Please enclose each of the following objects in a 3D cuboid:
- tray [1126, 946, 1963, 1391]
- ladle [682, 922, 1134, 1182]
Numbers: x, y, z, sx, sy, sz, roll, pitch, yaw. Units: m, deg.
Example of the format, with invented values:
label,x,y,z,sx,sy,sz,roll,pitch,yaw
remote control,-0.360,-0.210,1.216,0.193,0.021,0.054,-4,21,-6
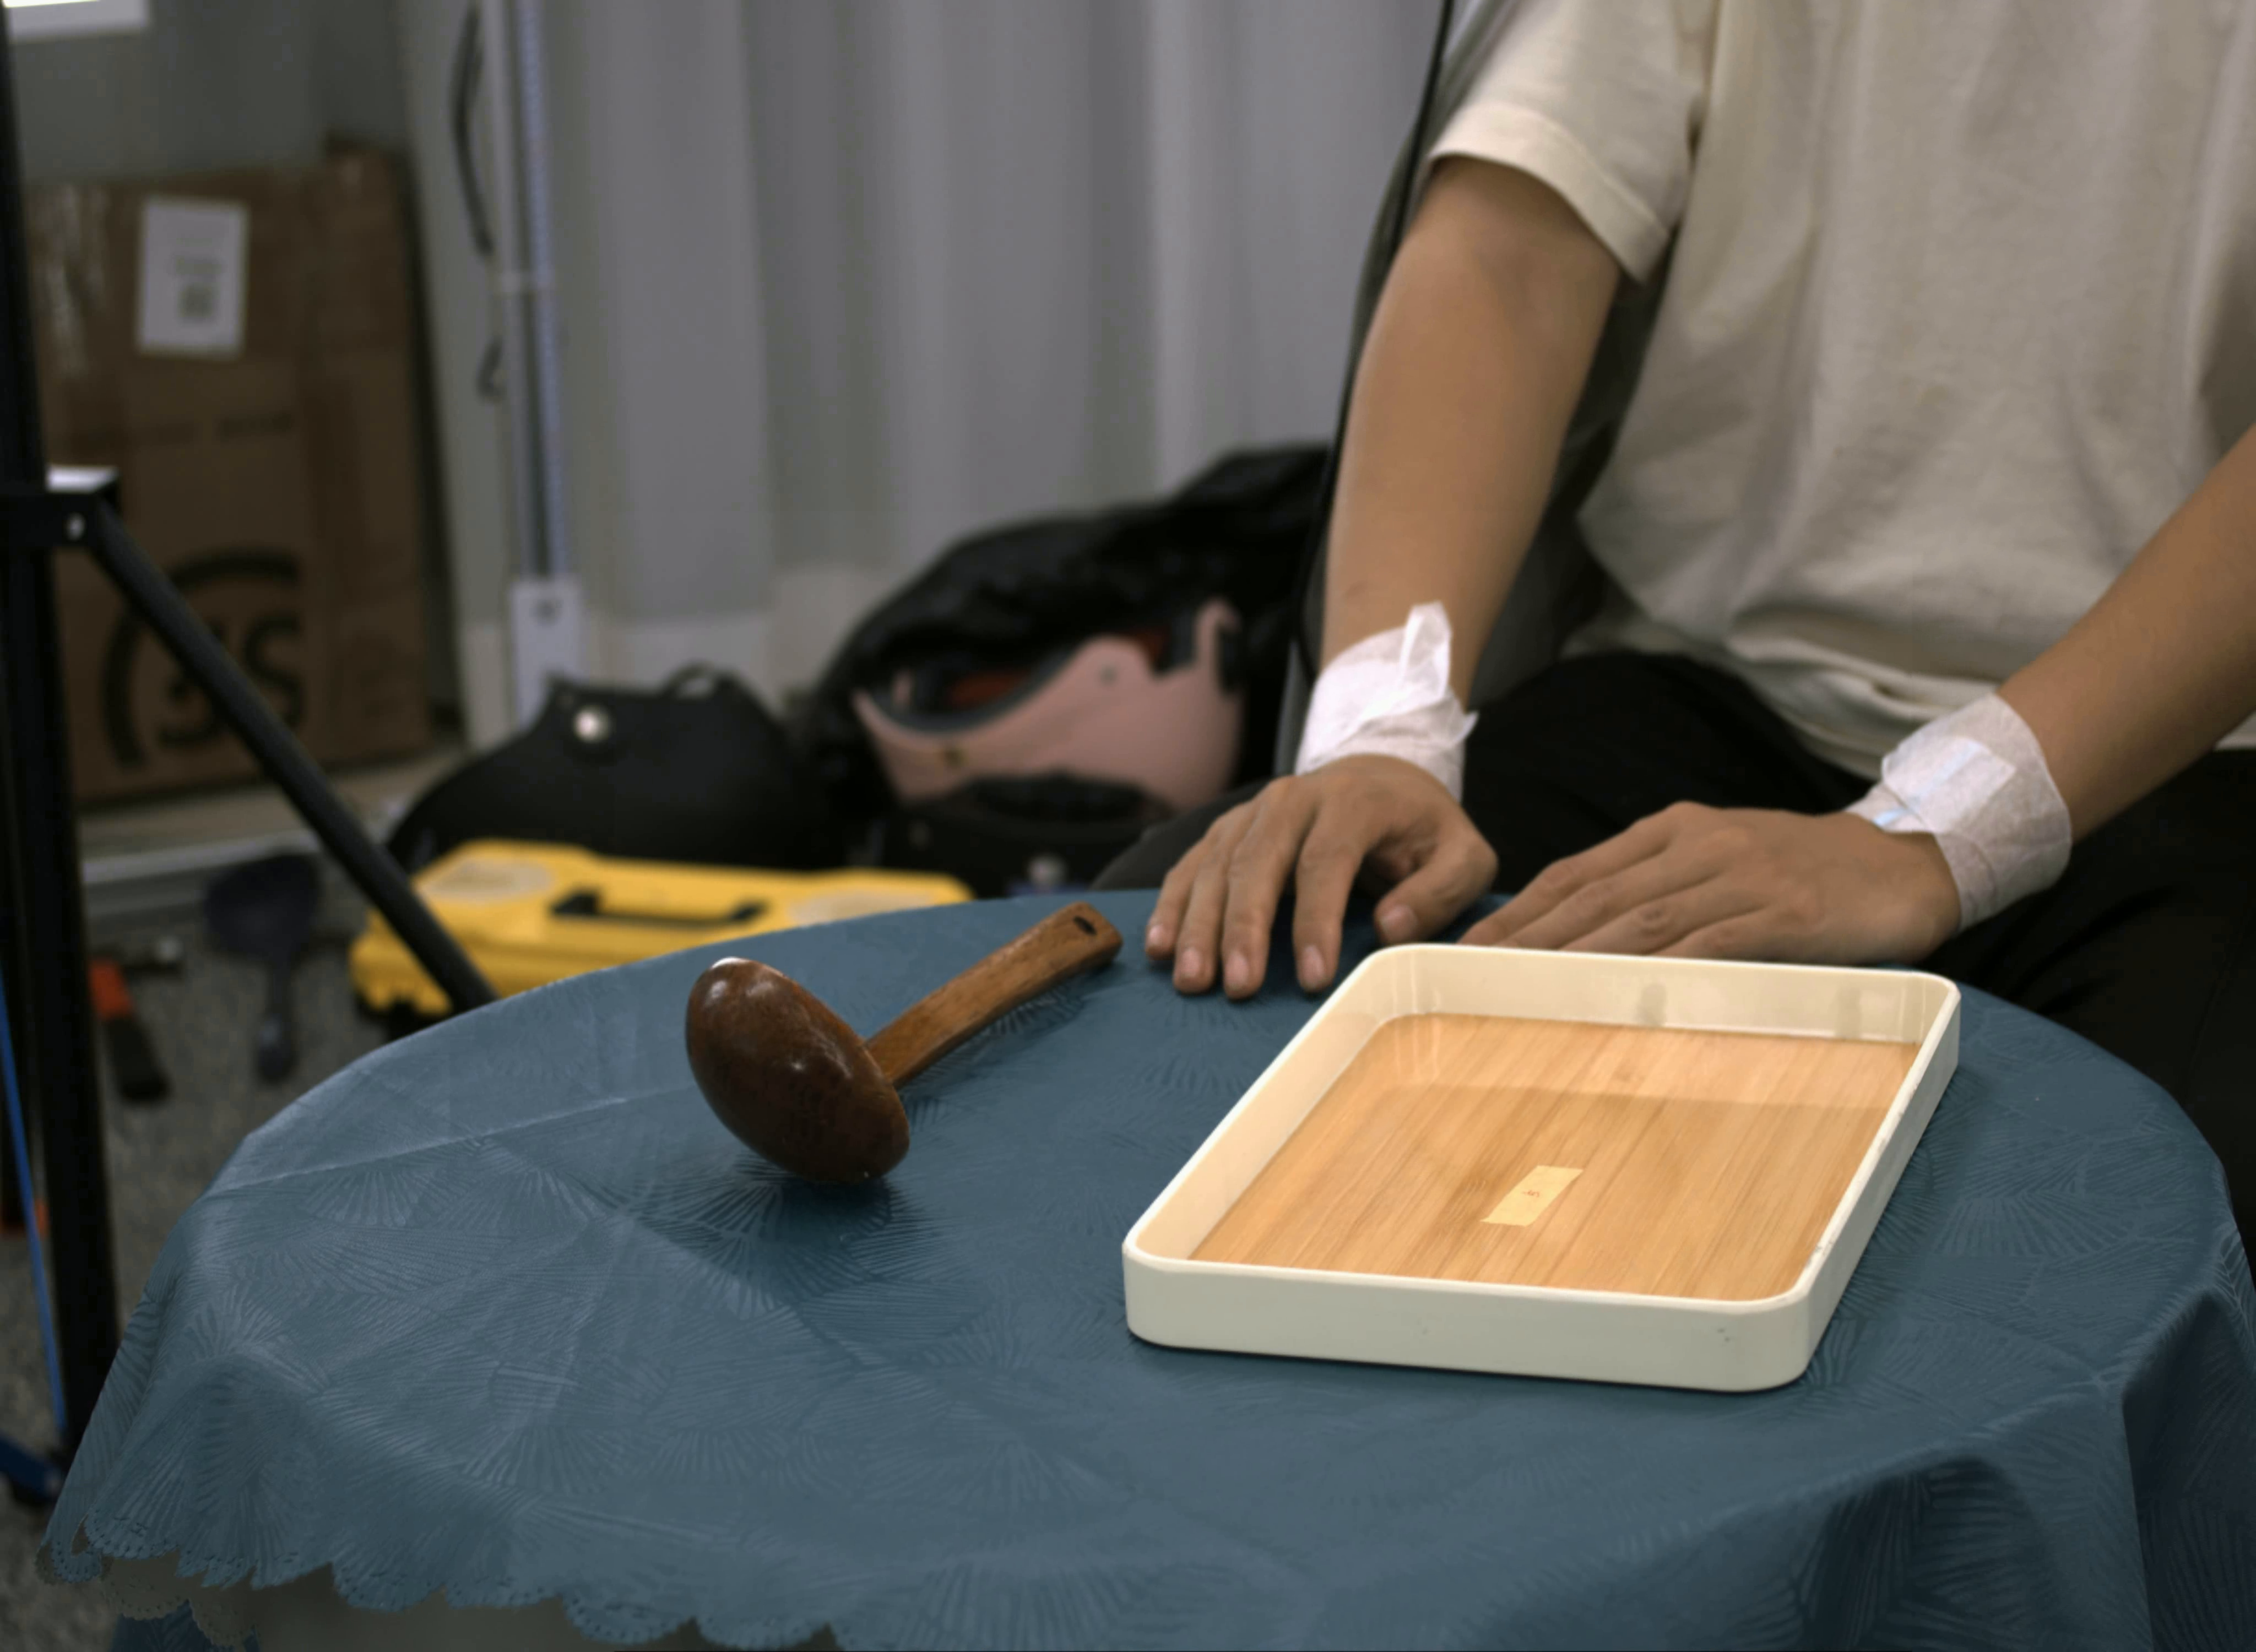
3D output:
label,x,y,z,sx,sy,sz,roll,pitch,yaw
tray,0.129,0.094,1.535,0.193,0.027,0.297,3,16,18
ladle,-0.052,0.048,1.652,0.082,0.077,0.269,45,29,11
